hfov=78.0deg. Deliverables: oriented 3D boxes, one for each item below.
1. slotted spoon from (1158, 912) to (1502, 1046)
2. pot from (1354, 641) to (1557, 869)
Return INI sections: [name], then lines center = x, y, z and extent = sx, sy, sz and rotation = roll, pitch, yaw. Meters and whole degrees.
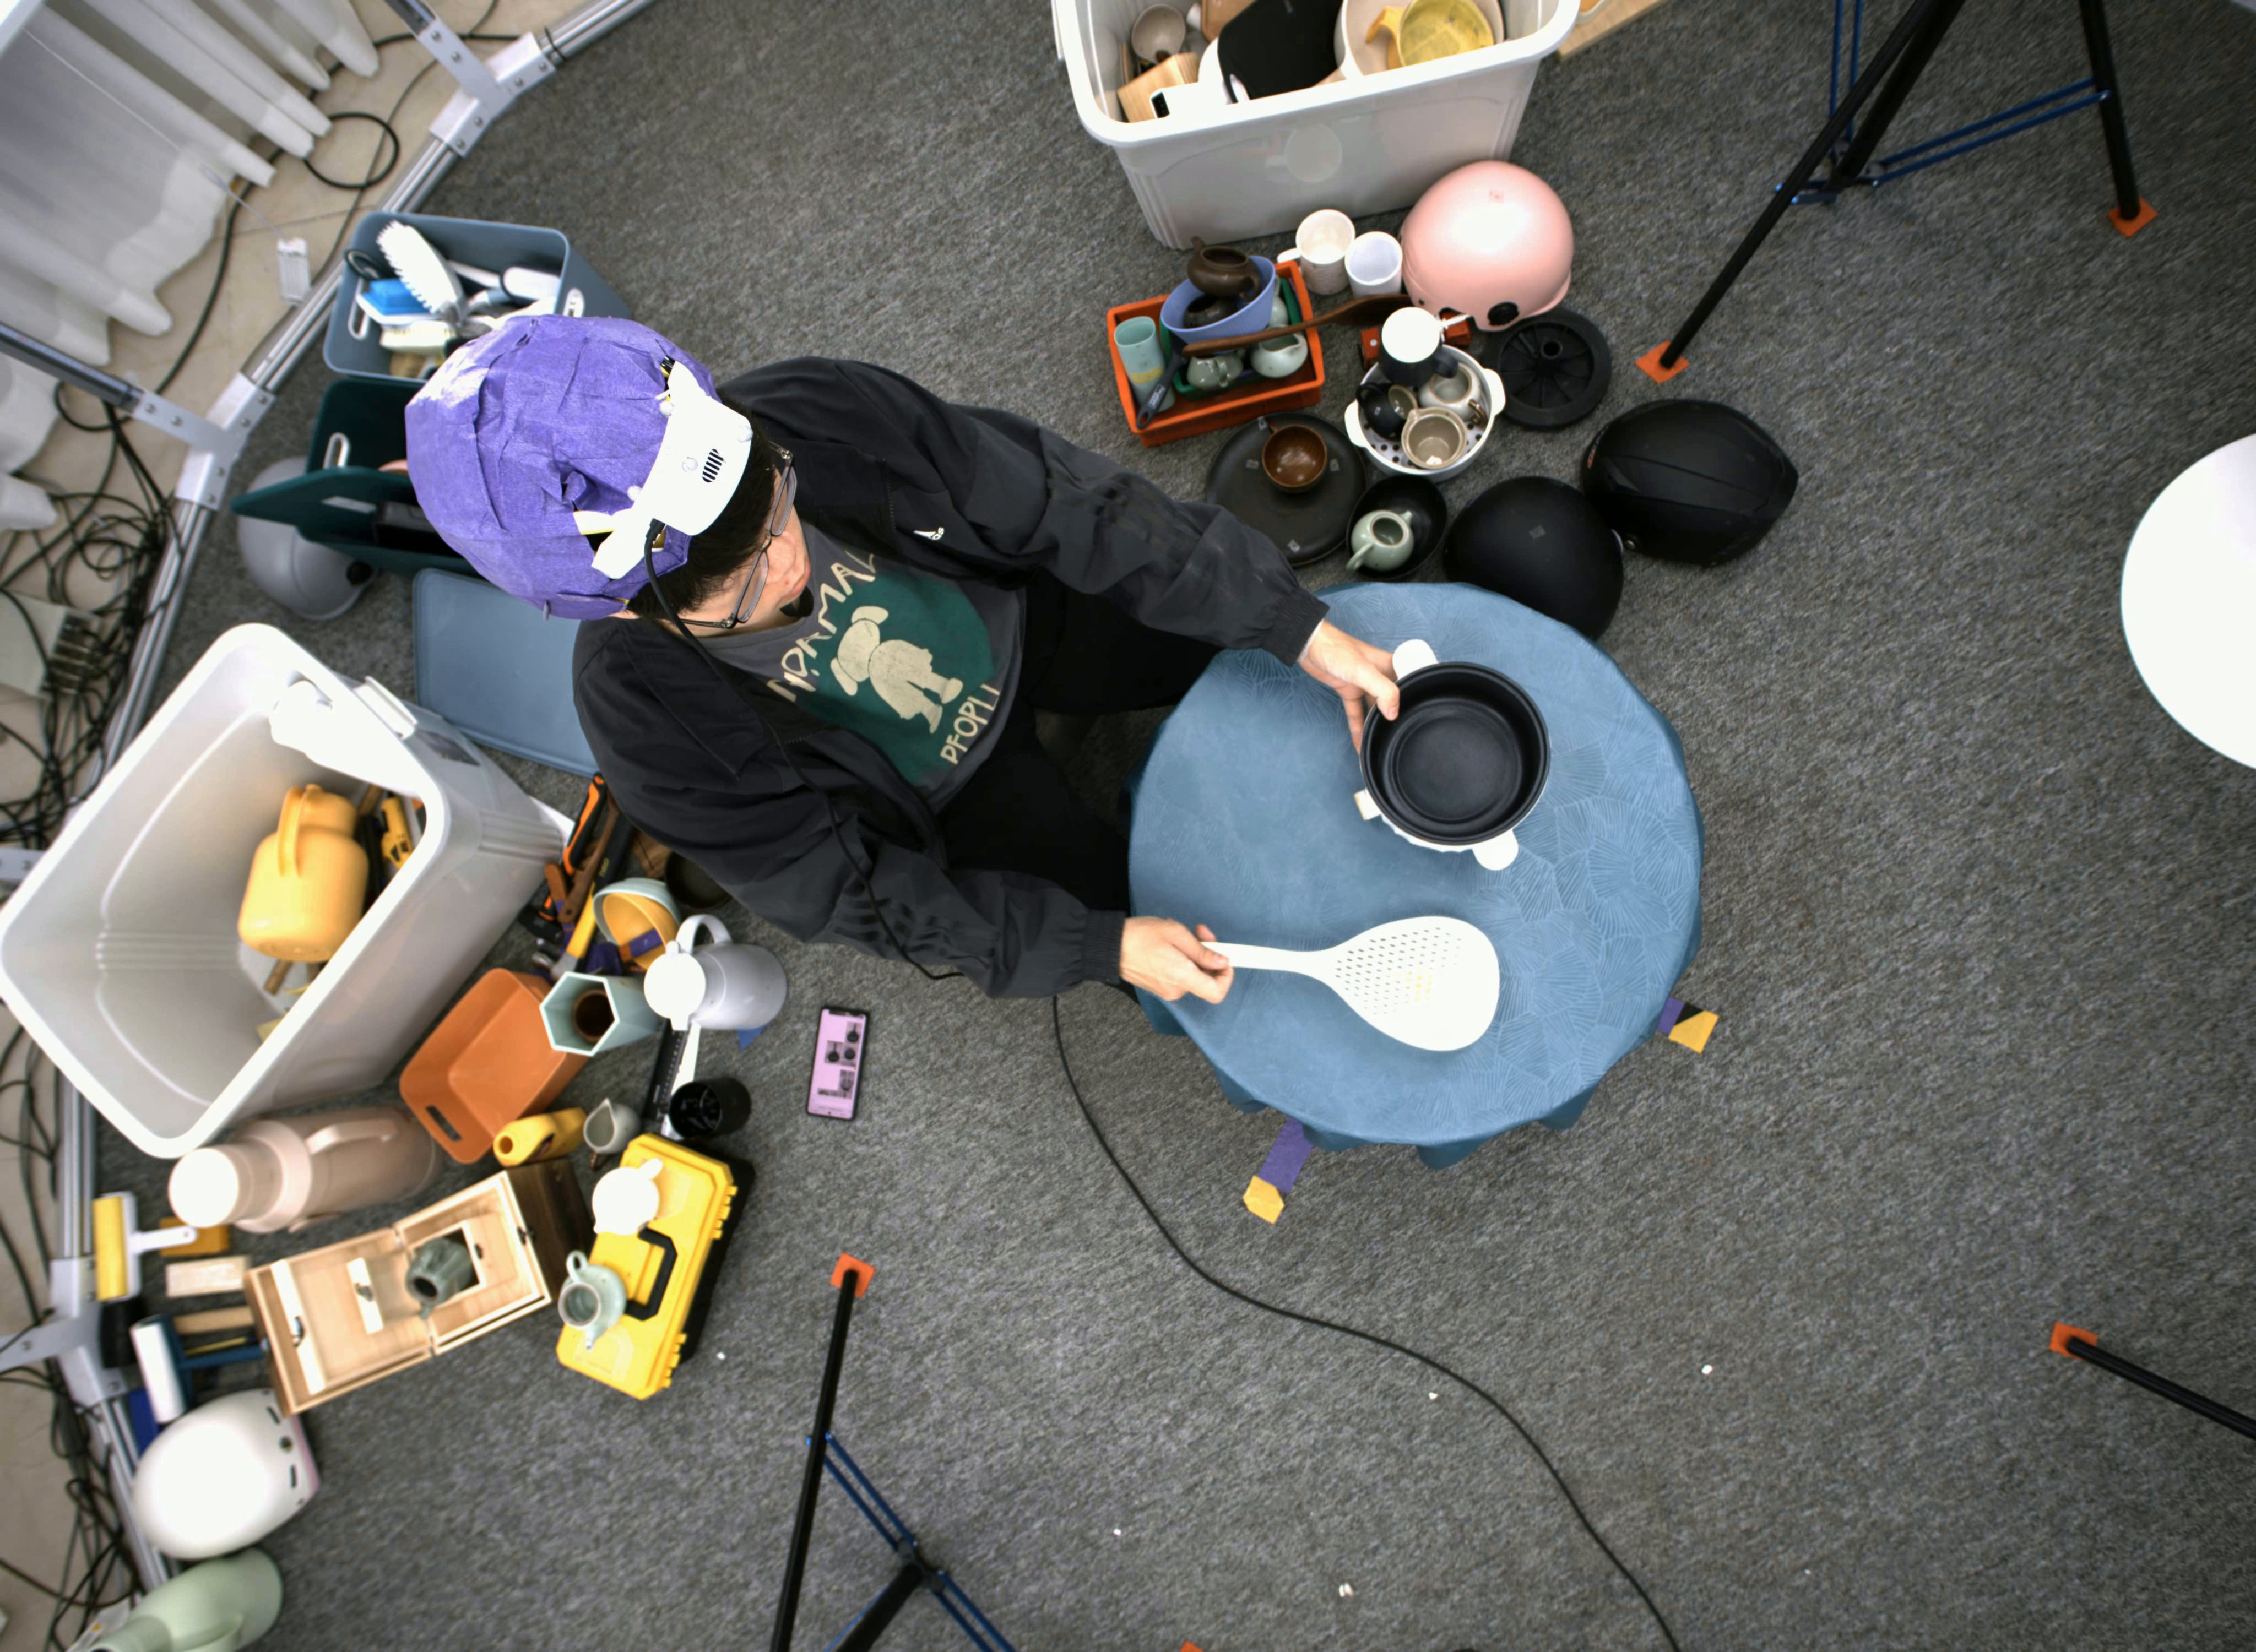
[slotted spoon]
center = 0.205, 0.145, 1.418
extent = 0.348, 0.051, 0.135
rotation = 6, 80, 1
[pot]
center = 0.323, -0.061, 1.384
extent = 0.191, 0.143, 0.238
rotation = -23, 81, 5
